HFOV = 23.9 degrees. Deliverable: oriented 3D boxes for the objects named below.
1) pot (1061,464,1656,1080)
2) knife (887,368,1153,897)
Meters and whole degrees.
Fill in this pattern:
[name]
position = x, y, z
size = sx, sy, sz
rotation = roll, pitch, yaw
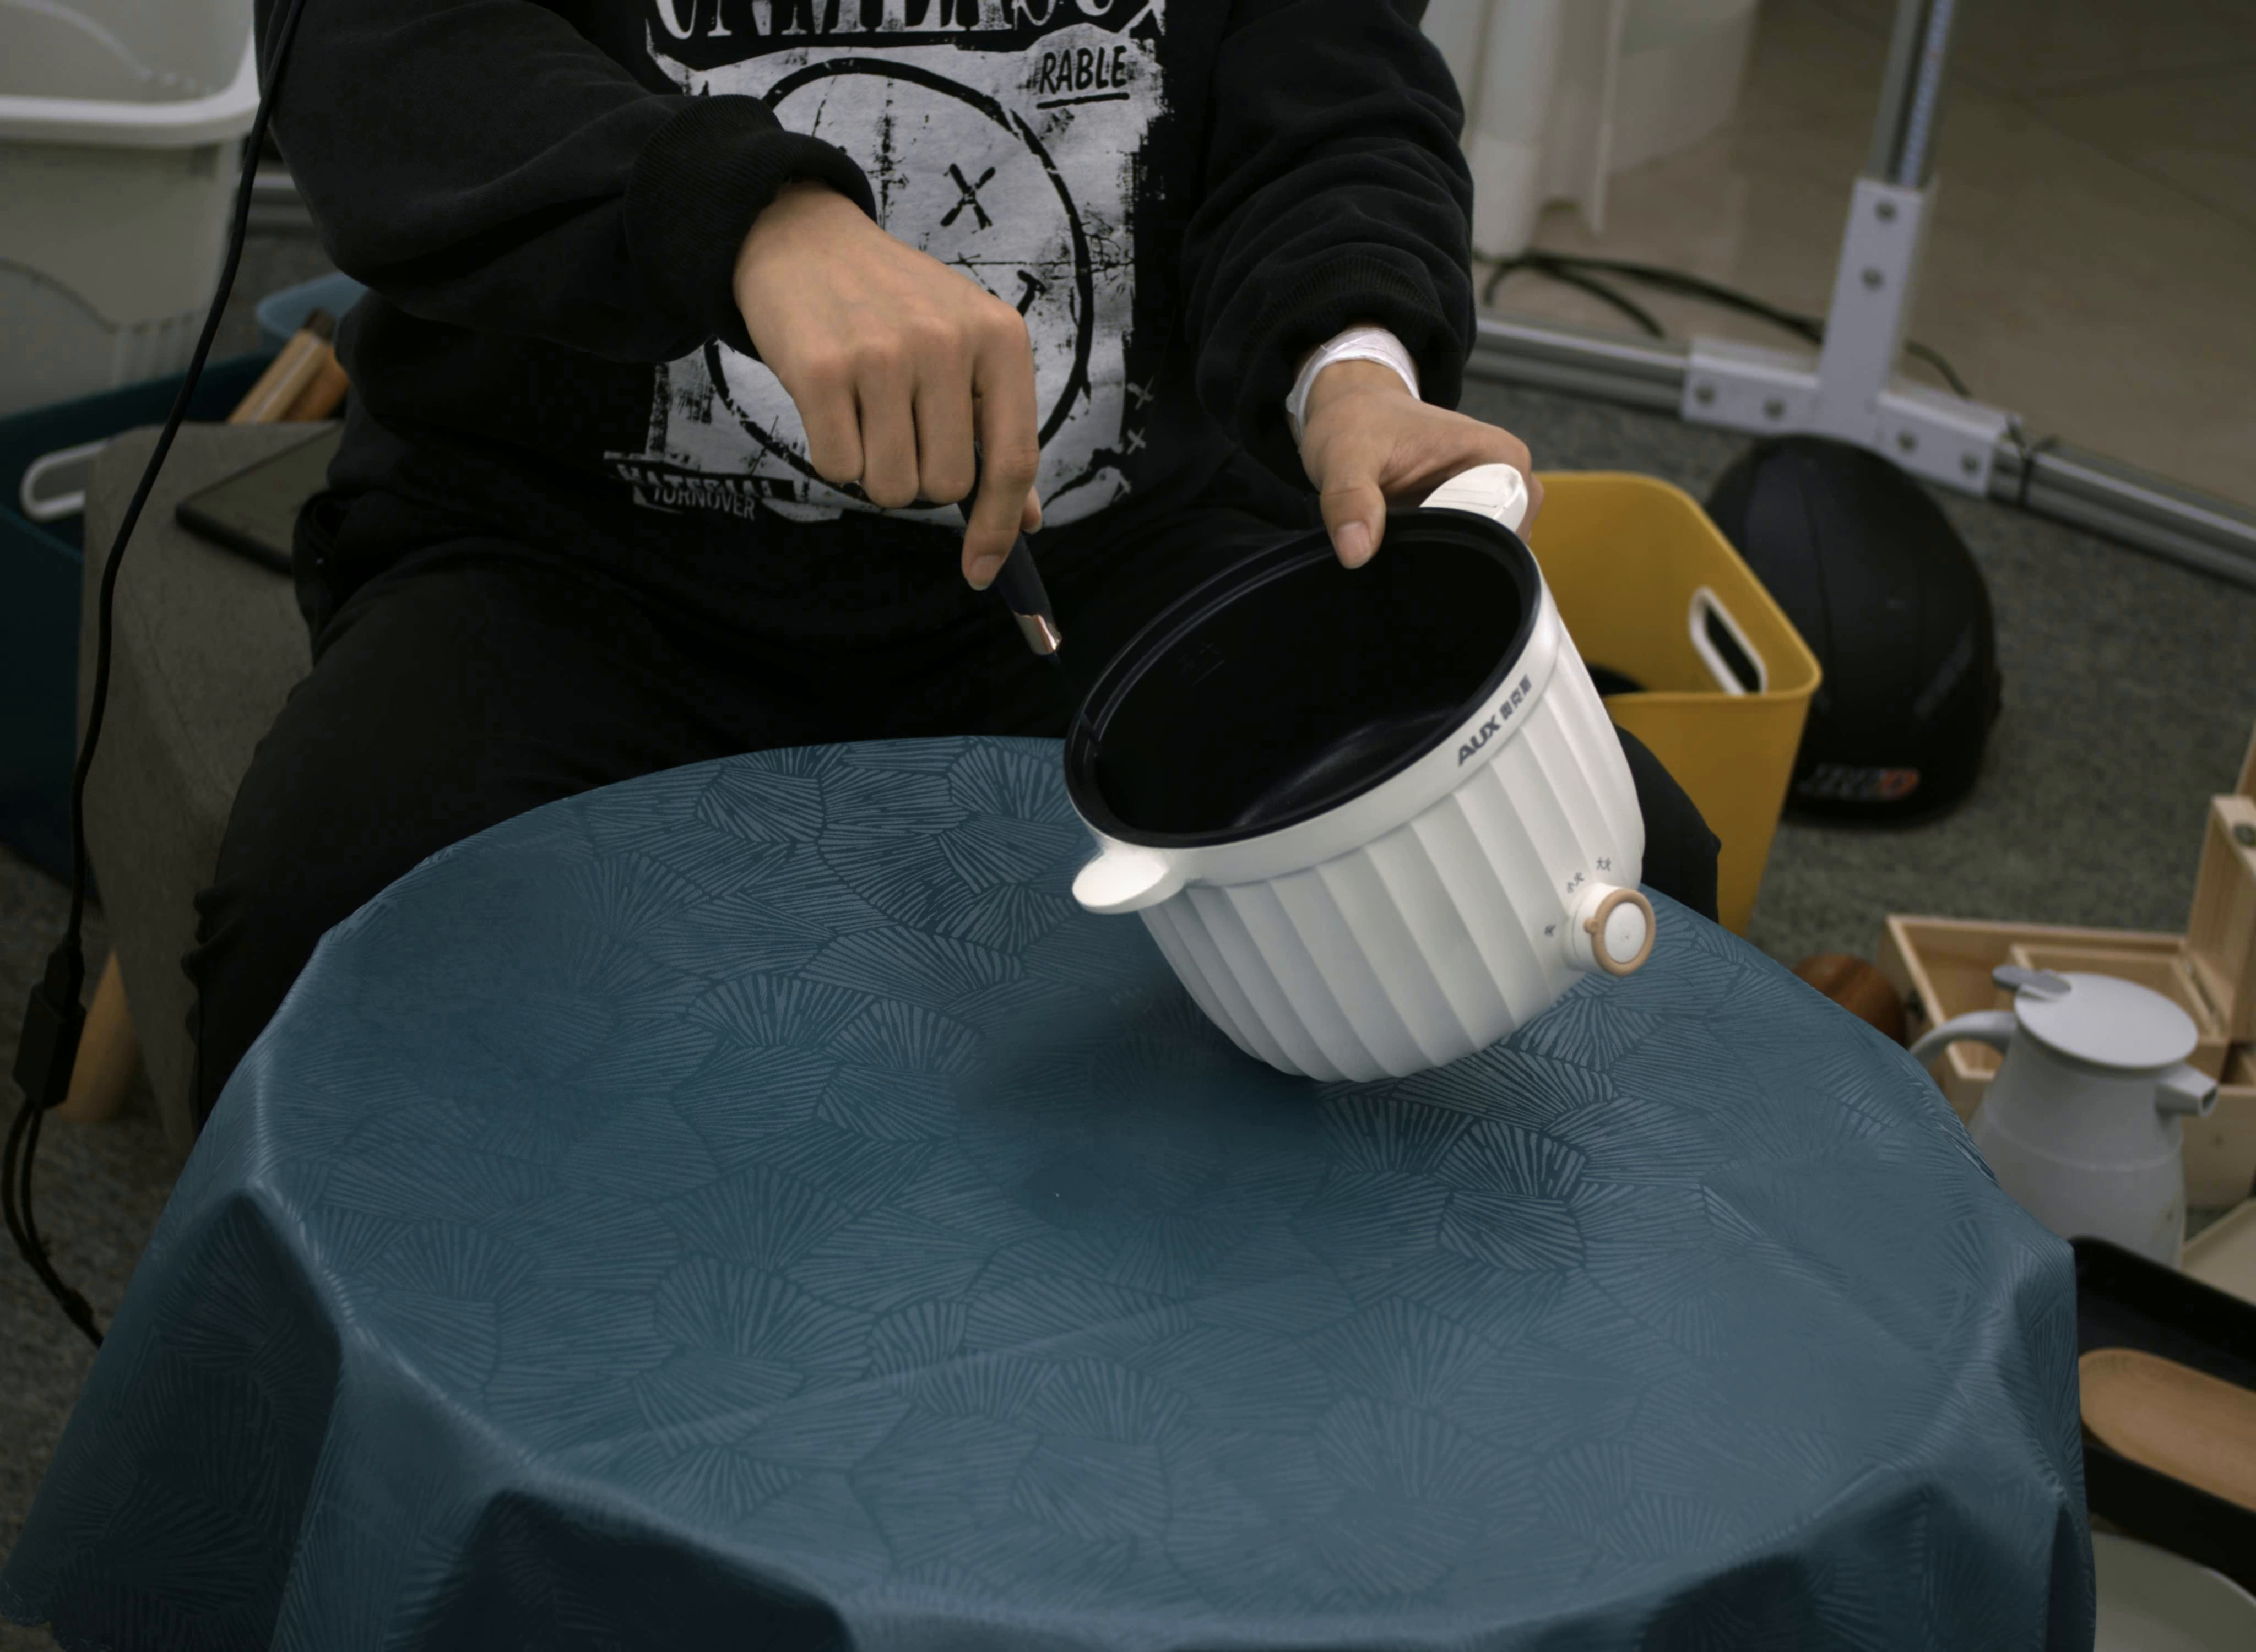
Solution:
[pot]
position = 0.091, -0.005, 1.874
size = 0.191, 0.141, 0.240
rotation = 5, 45, 50
[knife]
position = -0.030, -0.060, 1.853
size = 0.017, 0.224, 0.026
rotation = -33, 19, -19
